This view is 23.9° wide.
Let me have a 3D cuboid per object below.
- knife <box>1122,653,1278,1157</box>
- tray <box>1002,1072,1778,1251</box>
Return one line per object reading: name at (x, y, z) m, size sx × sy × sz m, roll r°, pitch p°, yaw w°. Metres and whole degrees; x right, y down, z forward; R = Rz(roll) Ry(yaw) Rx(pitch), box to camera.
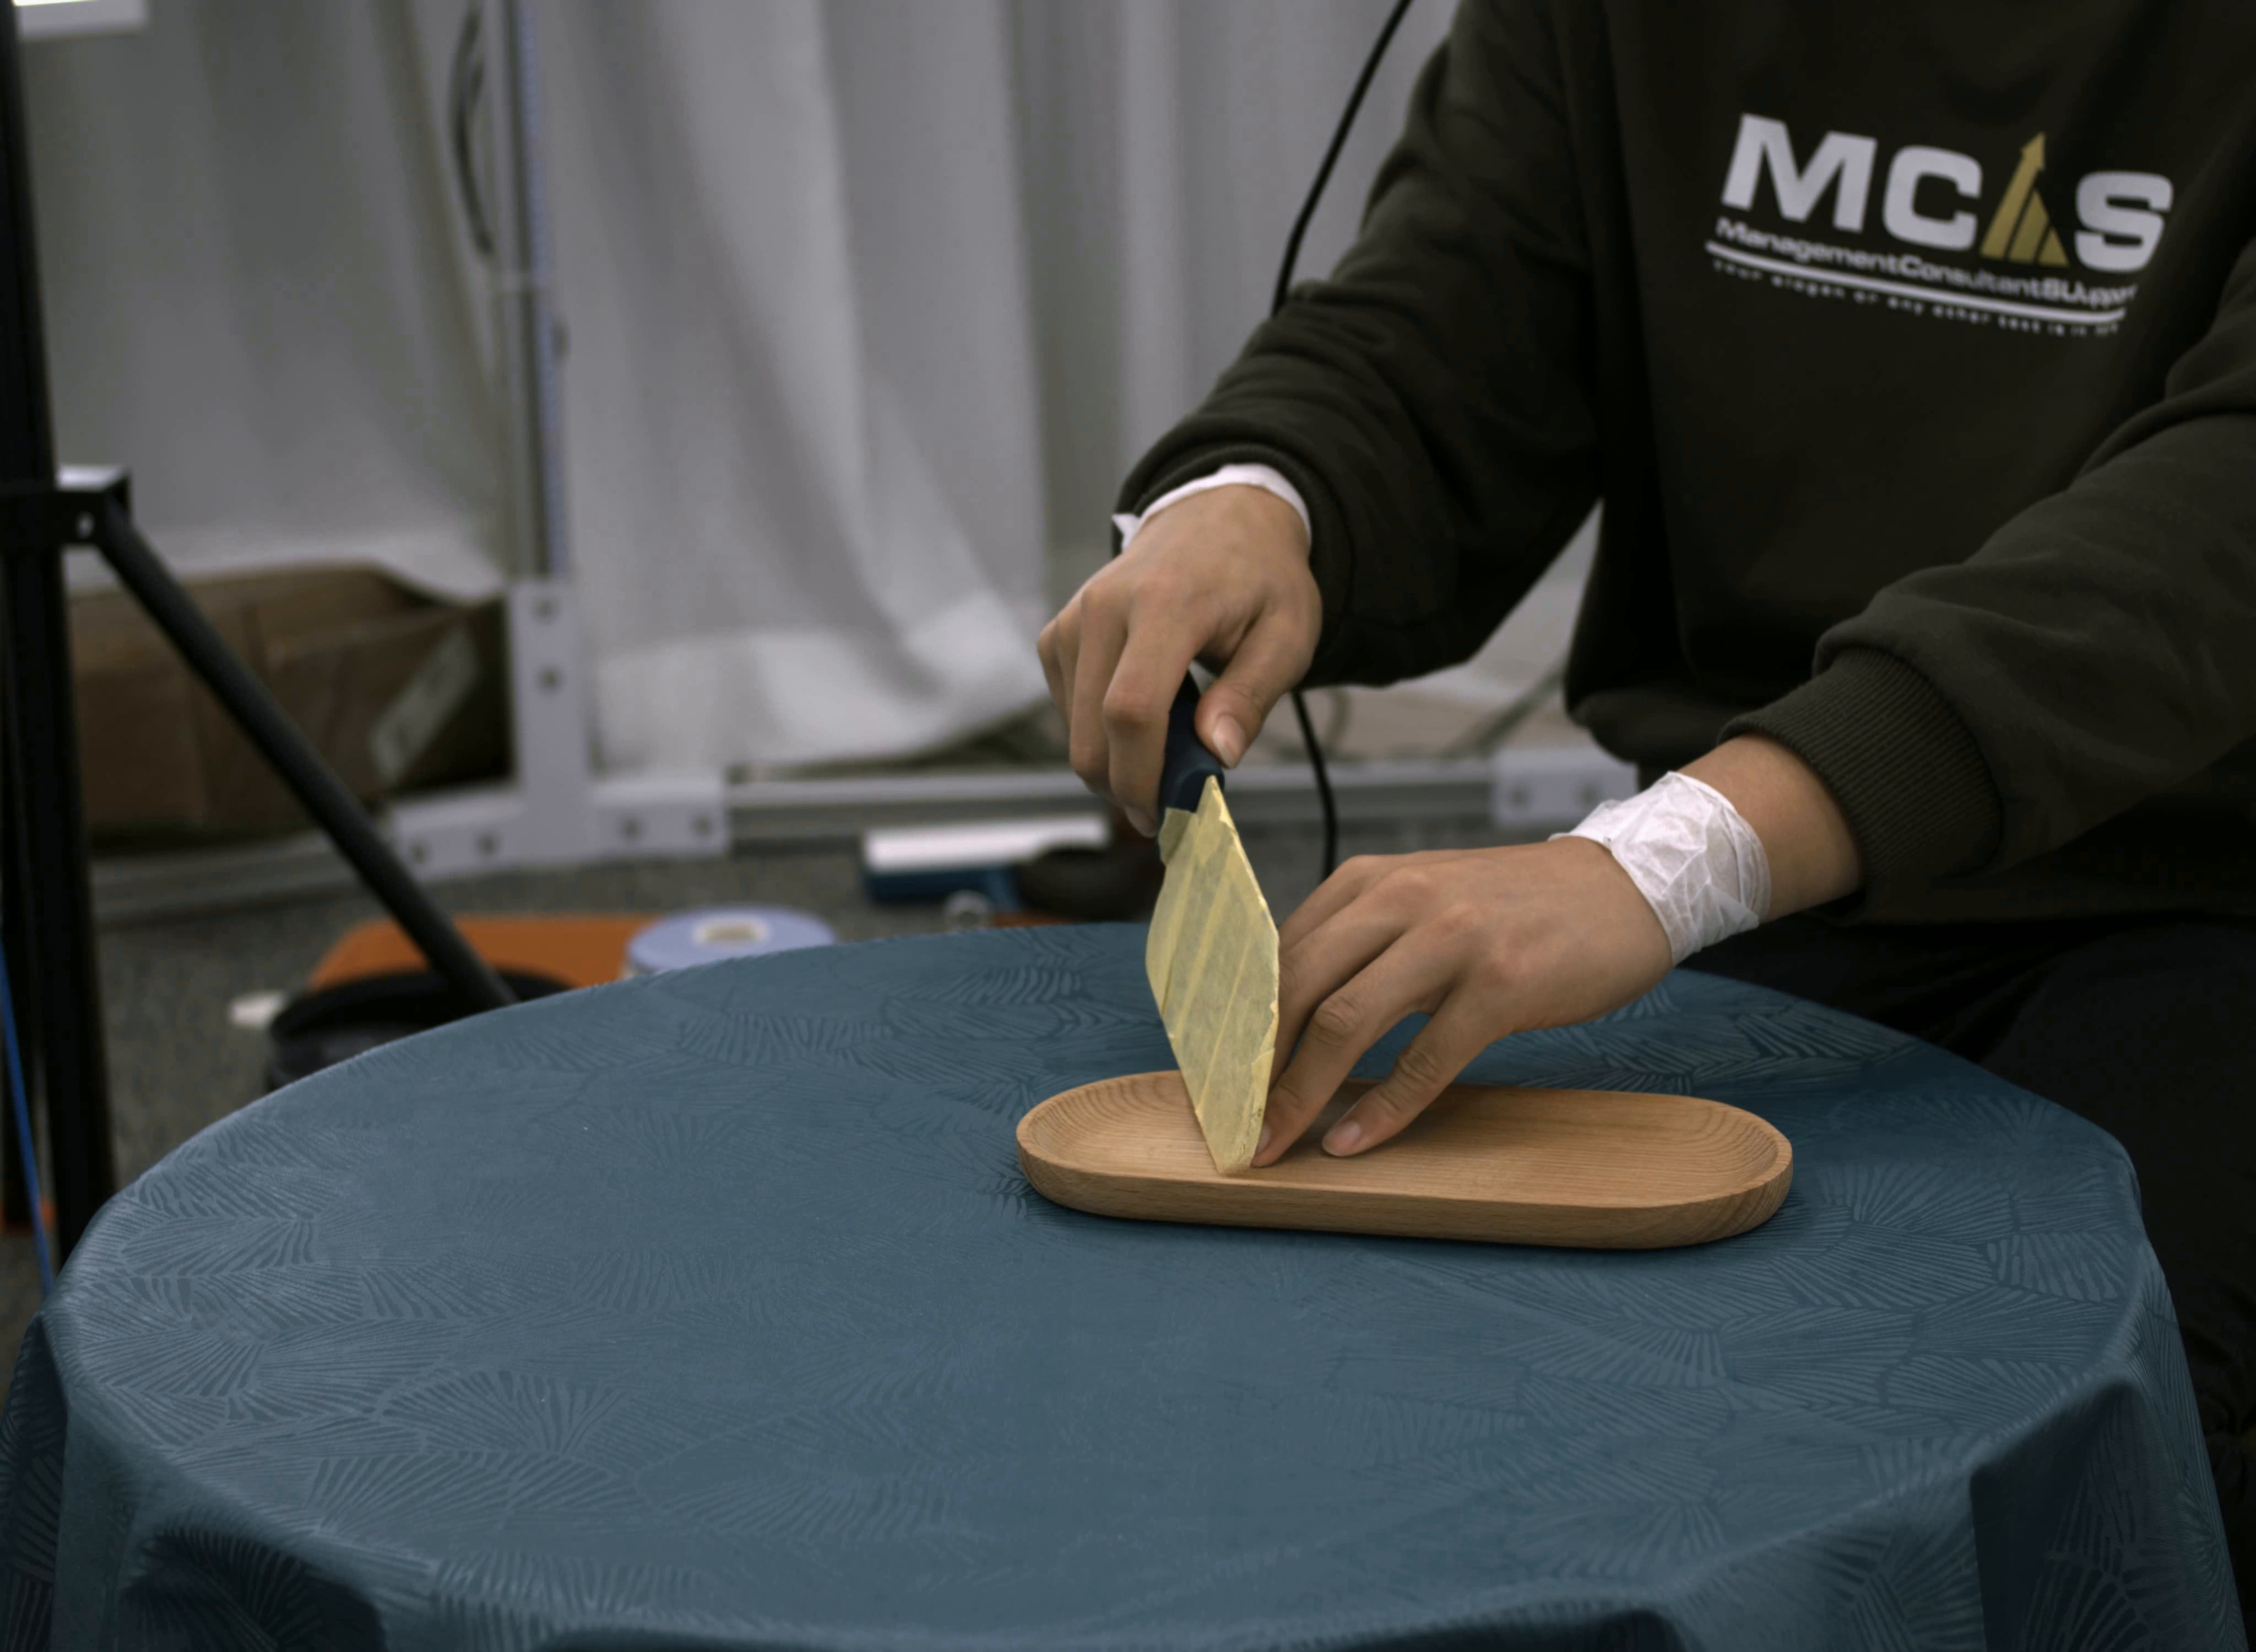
knife at (0.020, 0.020, 1.653) m, size 0.027 × 0.081 × 0.292 m, roll 14°, pitch 24°, yaw -13°
tray at (0.076, 0.098, 1.555) m, size 0.233 × 0.020 × 0.100 m, roll 1°, pitch 15°, yaw 18°
